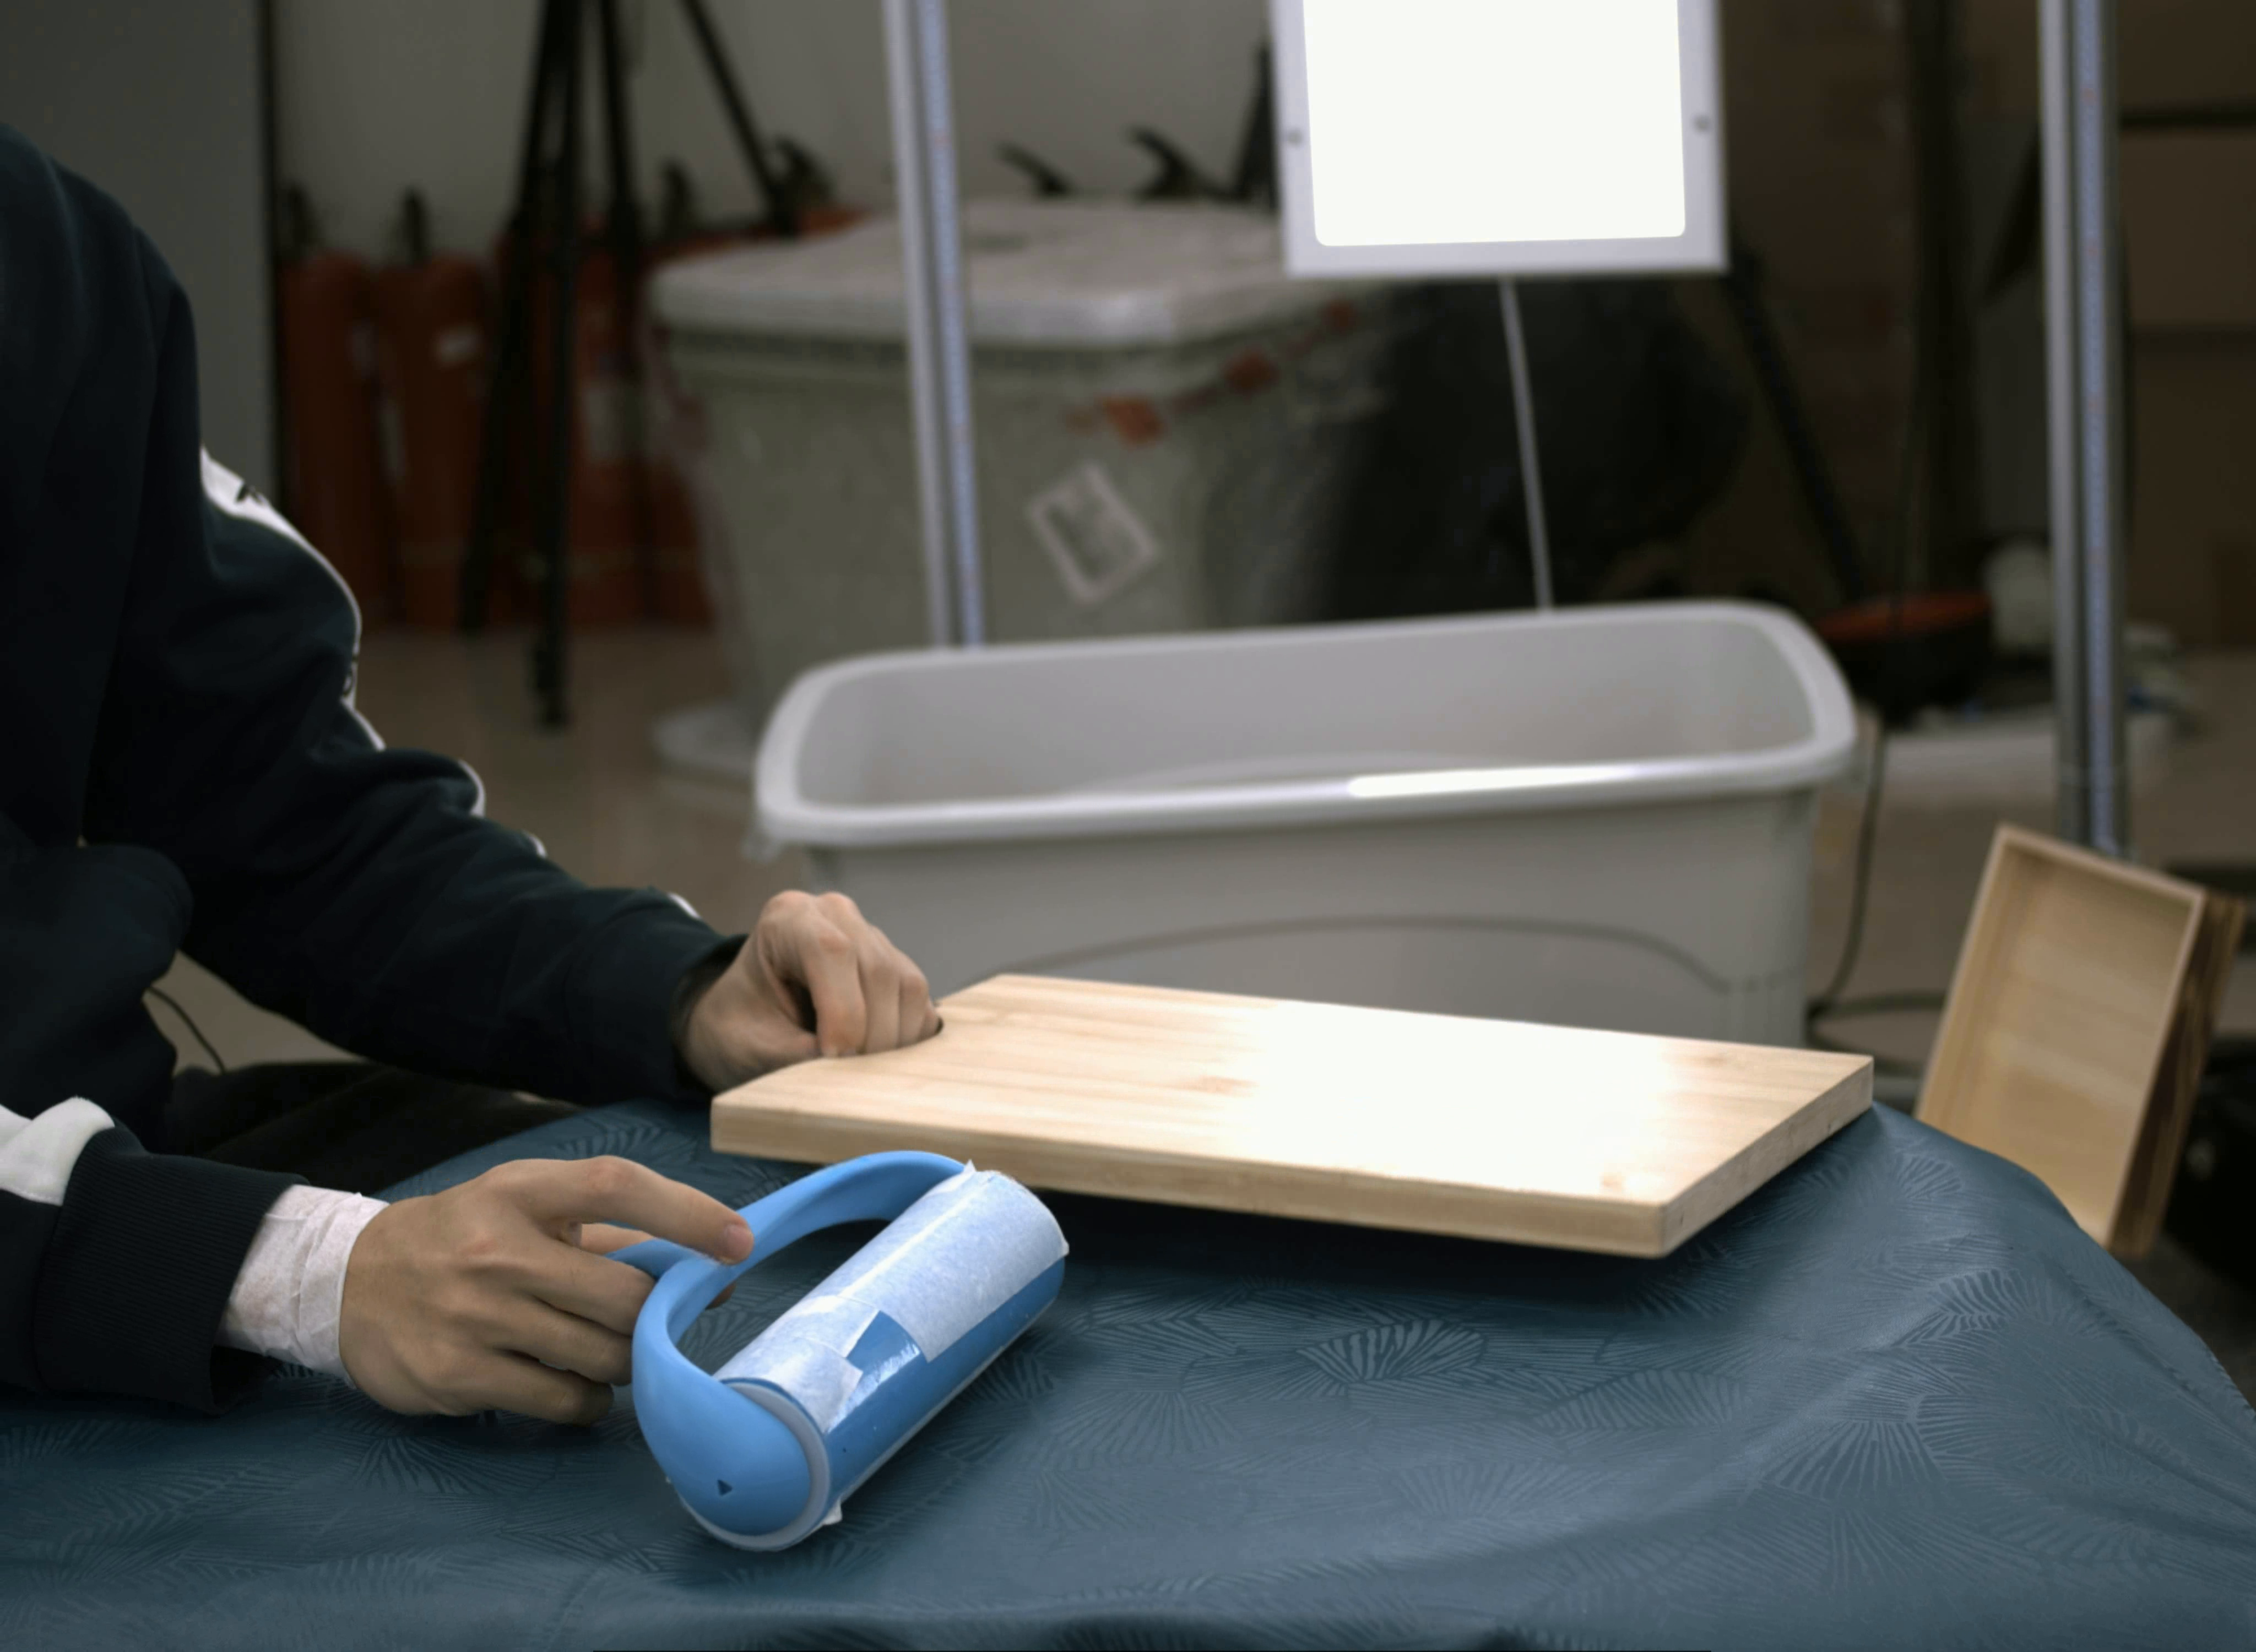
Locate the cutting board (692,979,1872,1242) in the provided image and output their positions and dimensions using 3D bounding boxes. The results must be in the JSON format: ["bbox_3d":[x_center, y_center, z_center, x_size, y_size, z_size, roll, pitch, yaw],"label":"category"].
[{"bbox_3d":[0.057,0.094,1.891,0.354,0.024,0.246,4,10,24],"label":"cutting board"}]

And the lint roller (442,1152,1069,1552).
[{"bbox_3d":[-0.131,0.158,1.693,0.182,0.068,0.225,0,17,19],"label":"lint roller"}]
